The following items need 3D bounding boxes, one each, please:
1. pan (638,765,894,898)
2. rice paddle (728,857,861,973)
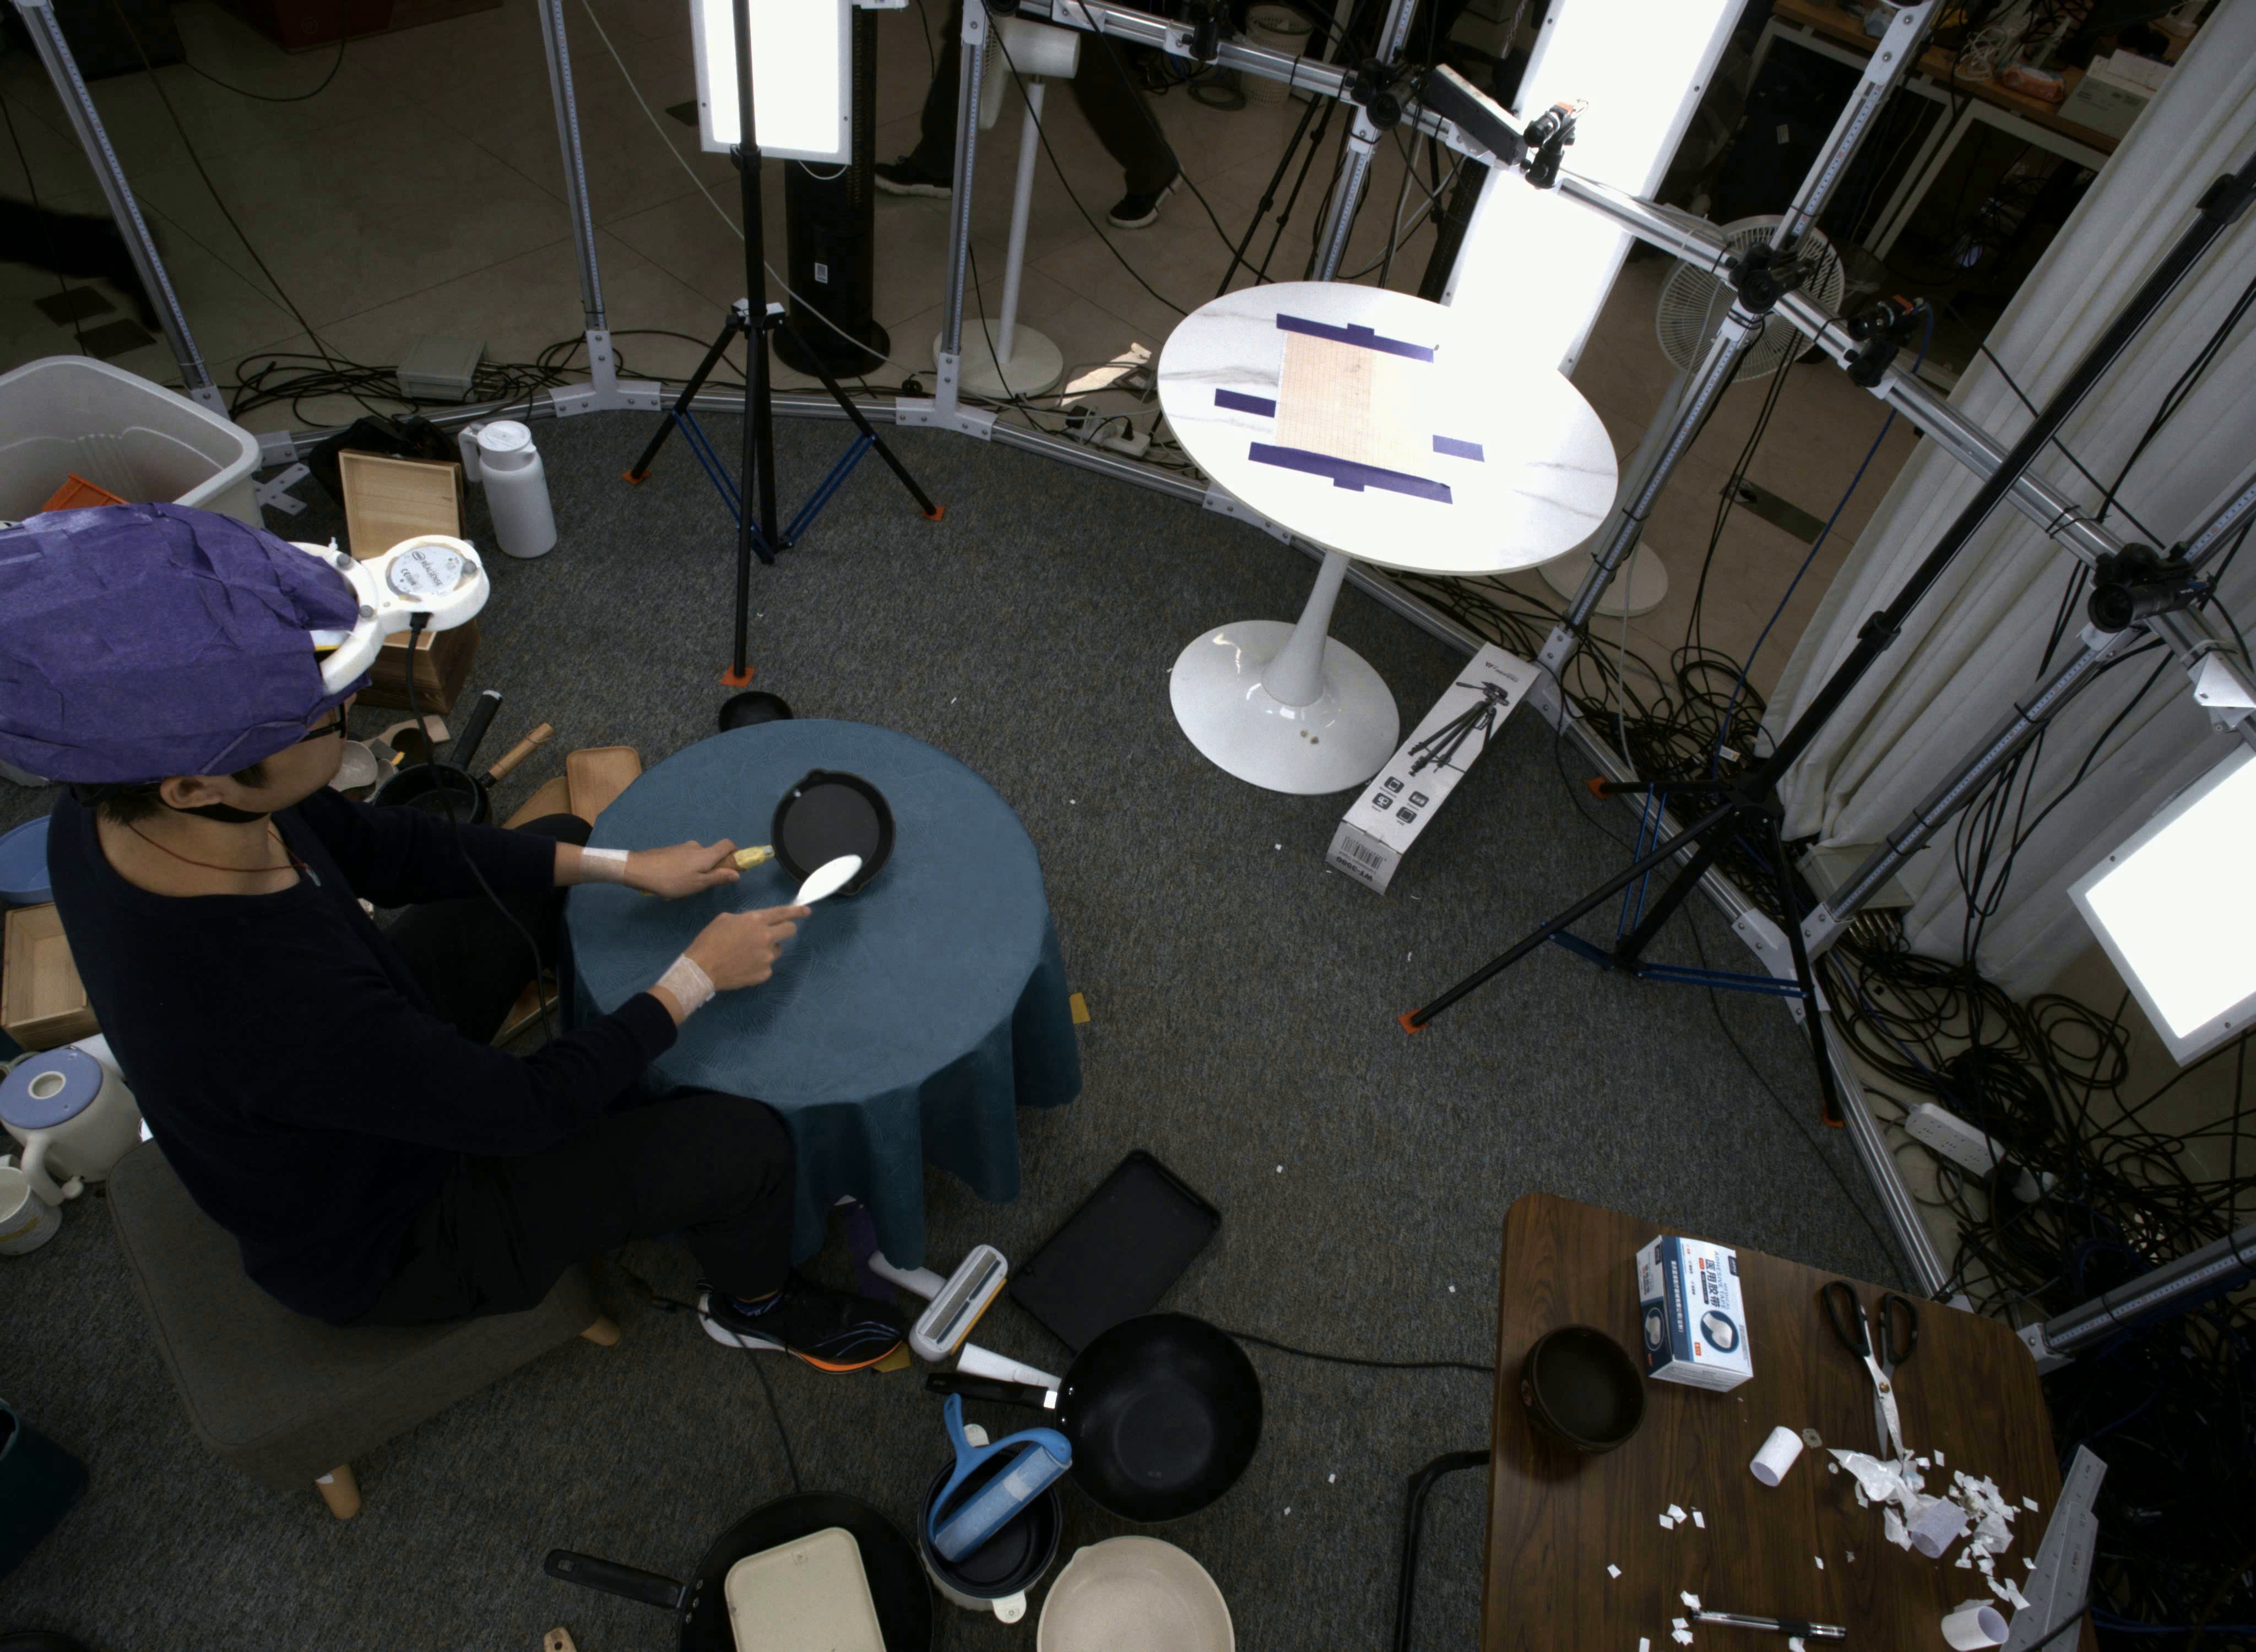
[{"bbox_3d":[-0.453,0.029,1.619,0.325,0.048,0.172,-17,100,-21],"label":"pan"},{"bbox_3d":[-0.400,0.096,1.566,0.066,0.030,0.205,11,44,36],"label":"rice paddle"}]
